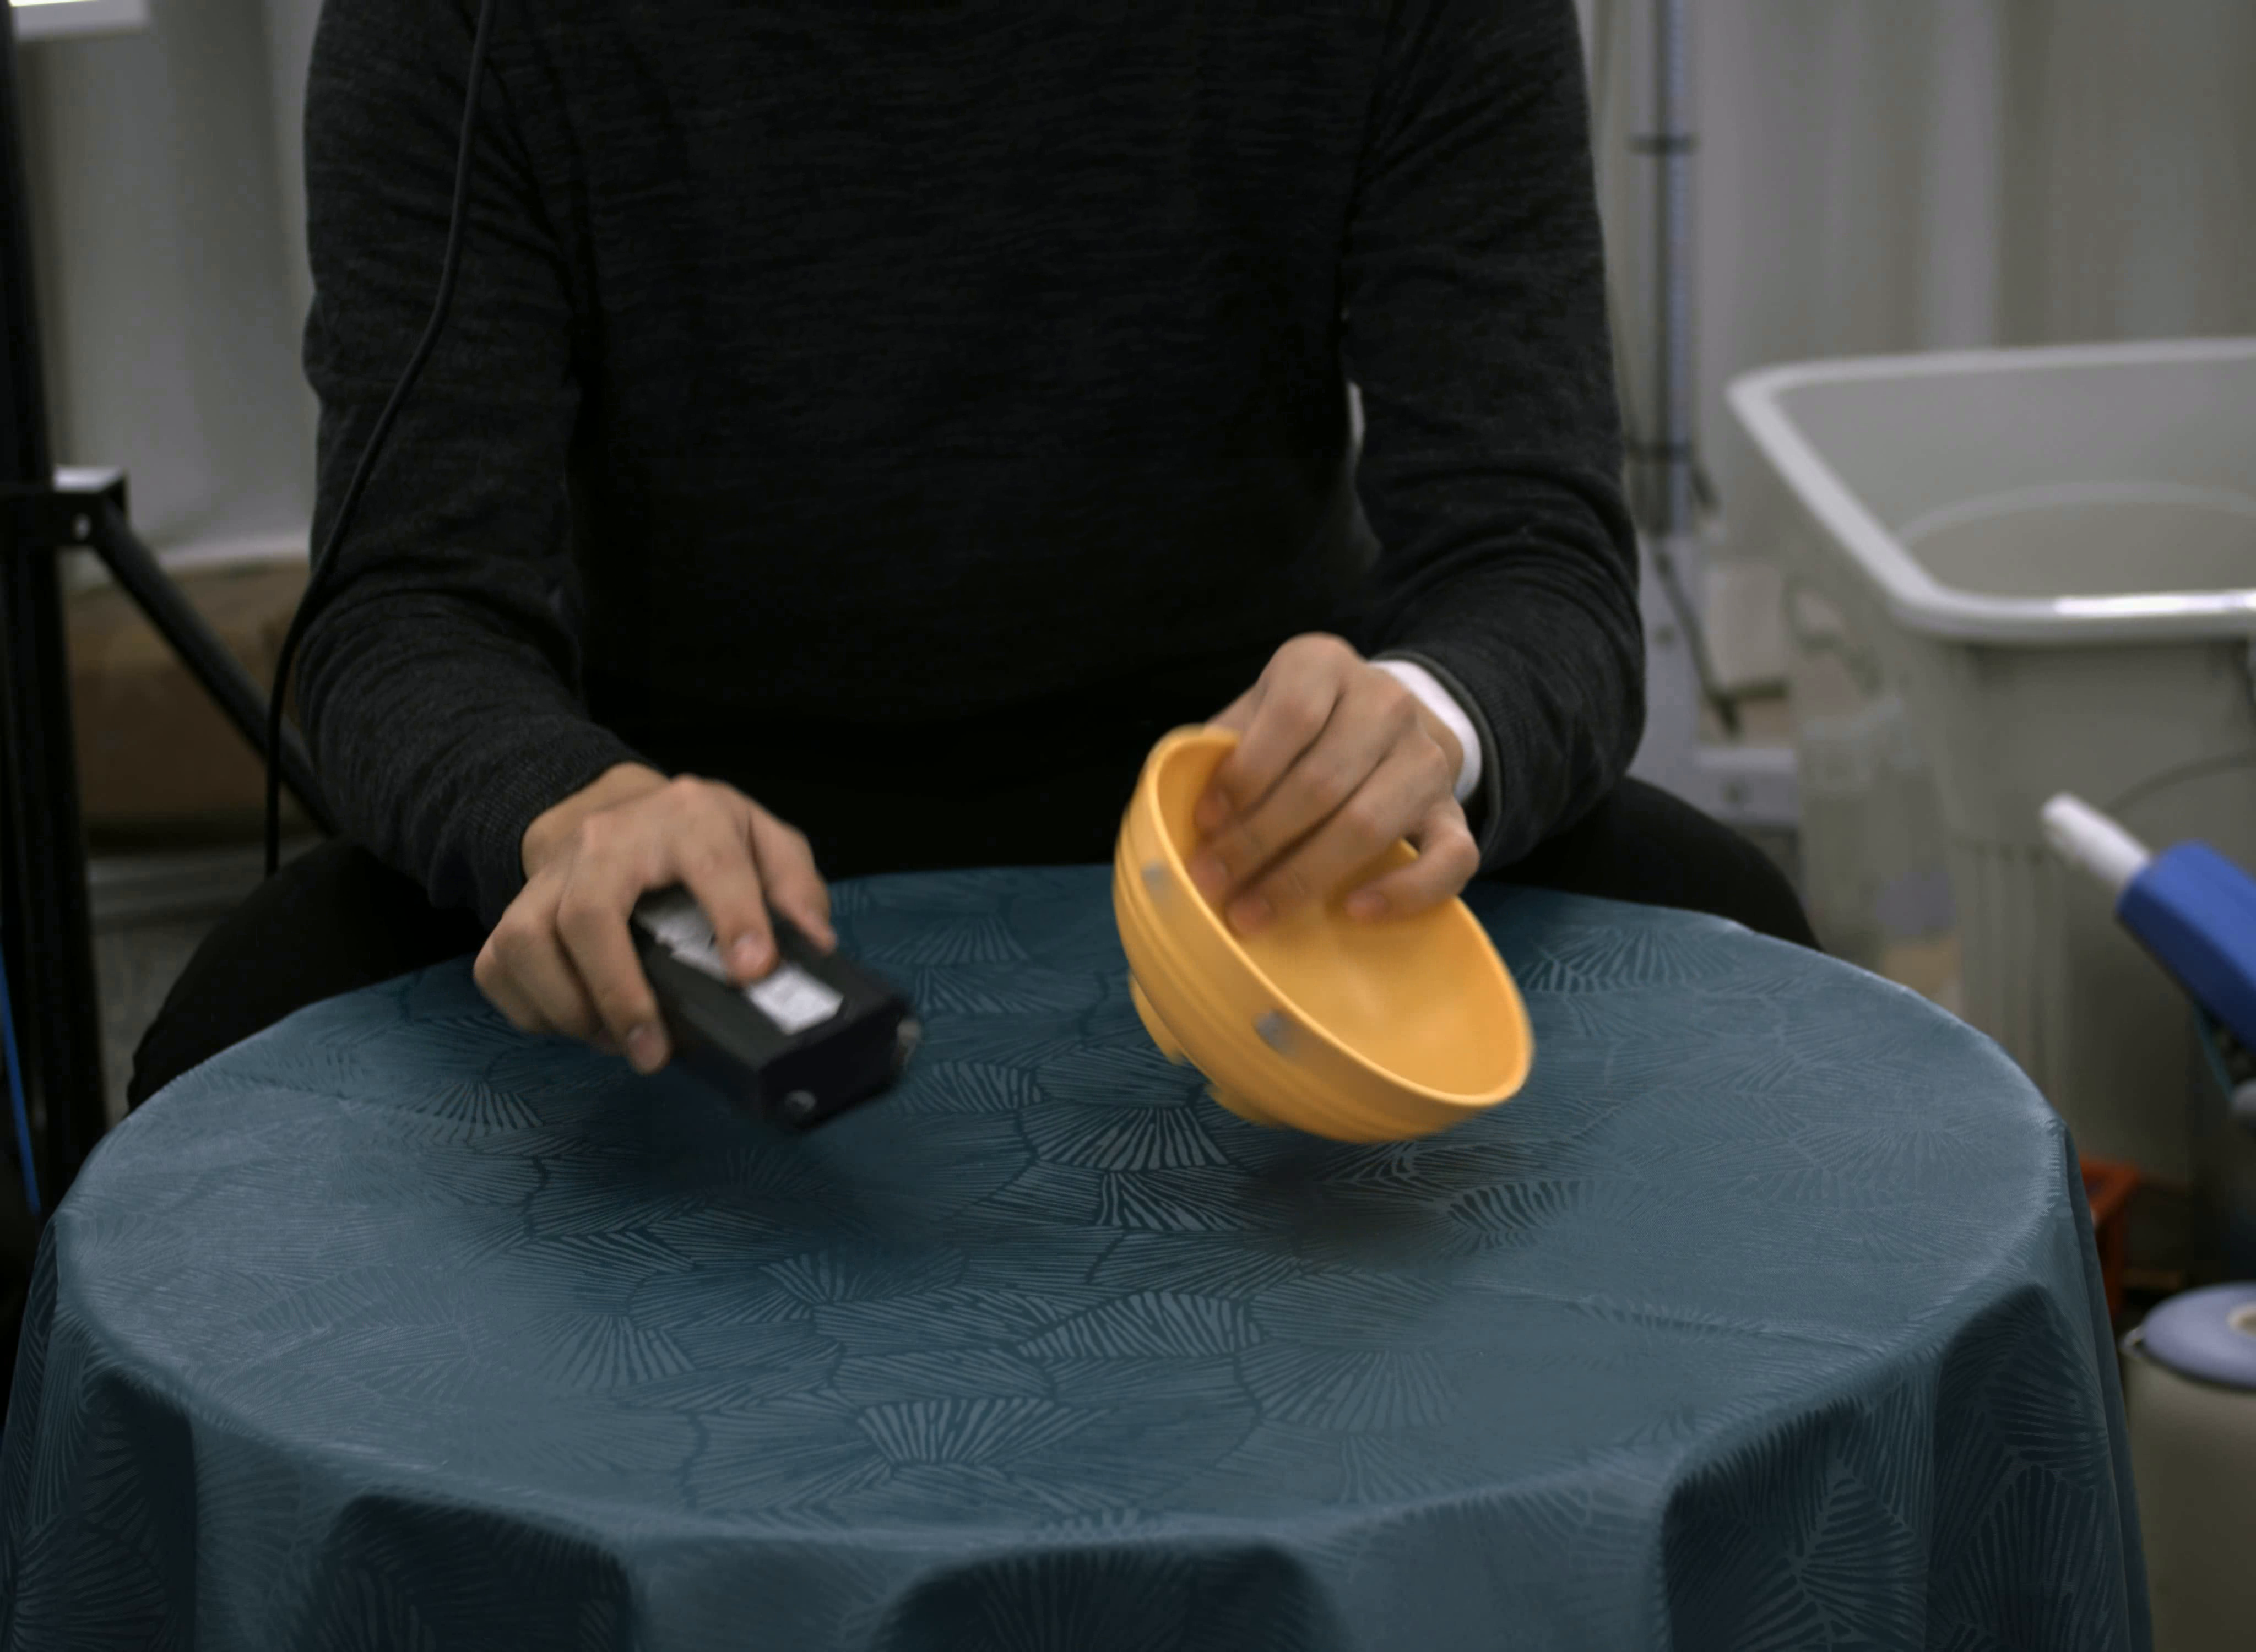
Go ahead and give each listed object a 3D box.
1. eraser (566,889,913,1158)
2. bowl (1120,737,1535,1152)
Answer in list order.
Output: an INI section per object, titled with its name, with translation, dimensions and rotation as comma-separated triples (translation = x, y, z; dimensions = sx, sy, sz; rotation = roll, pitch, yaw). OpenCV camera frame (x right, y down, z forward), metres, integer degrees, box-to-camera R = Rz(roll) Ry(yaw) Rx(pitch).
[eraser]
translation = -0.114, 0.057, 1.562
dimensions = 0.052, 0.030, 0.128
rotation = -21, 28, -24
[bowl]
translation = 0.047, 0.047, 1.553
dimensions = 0.143, 0.060, 0.147
rotation = 33, 26, -20
